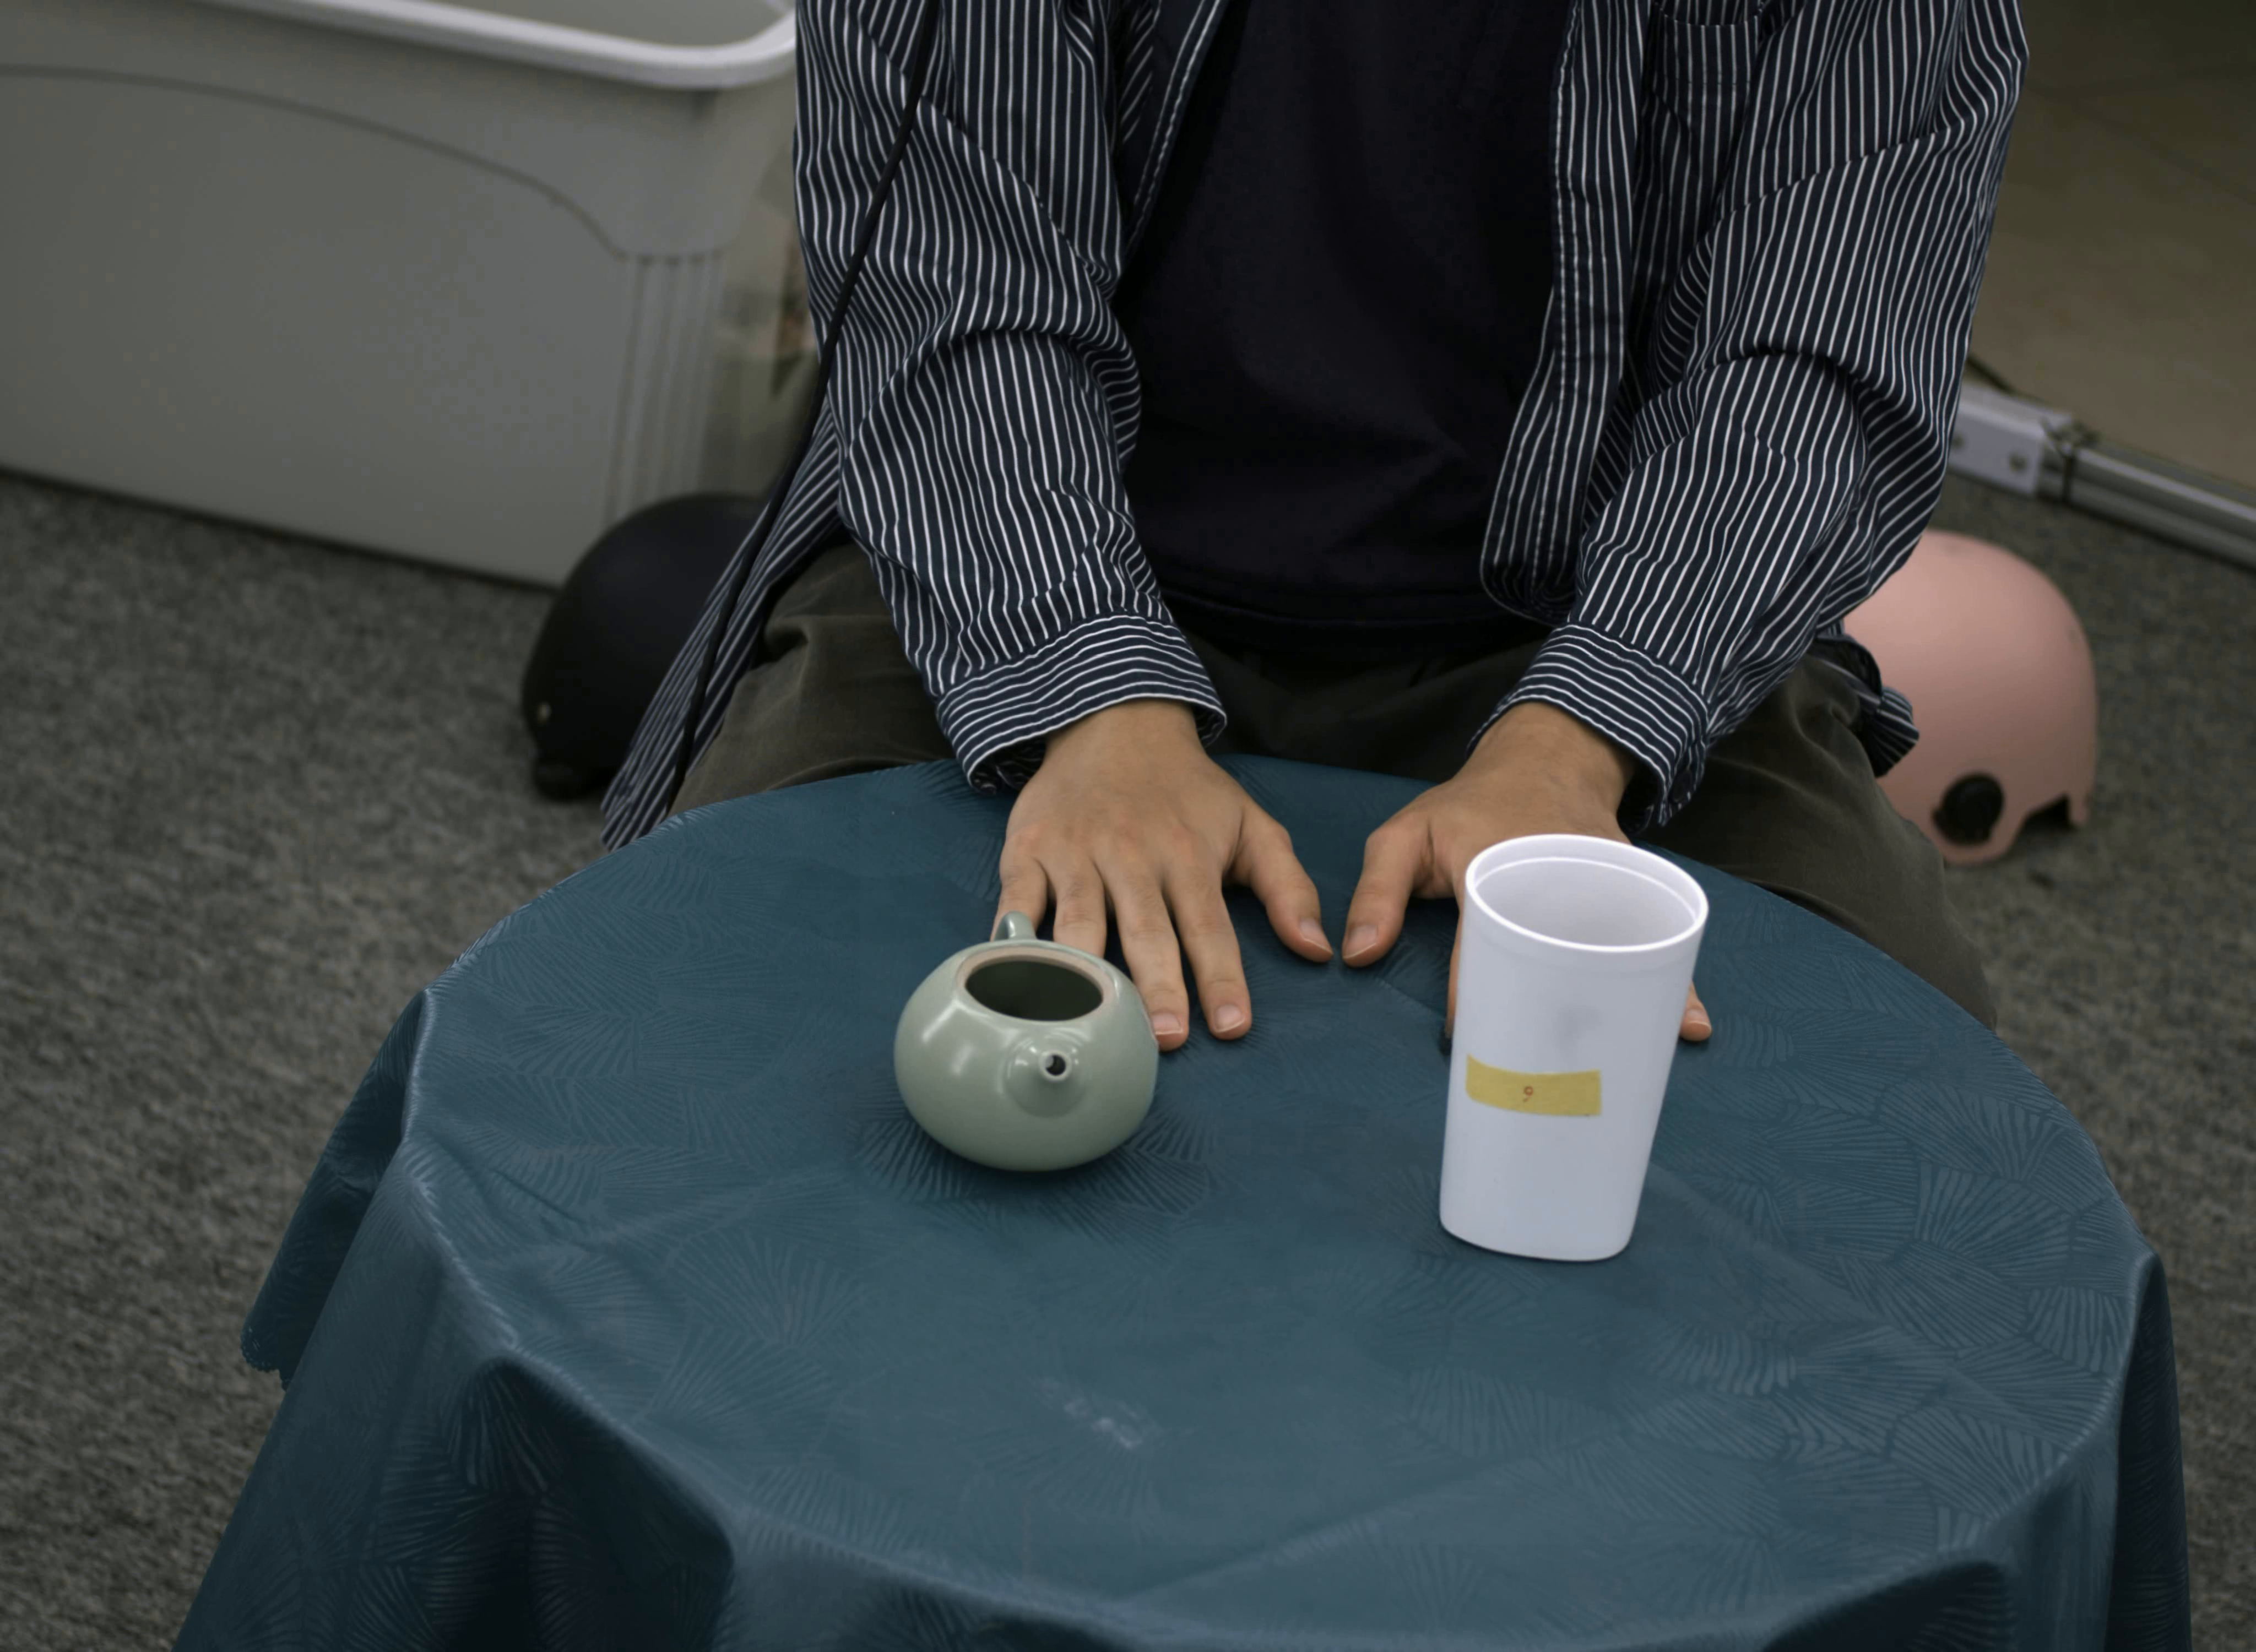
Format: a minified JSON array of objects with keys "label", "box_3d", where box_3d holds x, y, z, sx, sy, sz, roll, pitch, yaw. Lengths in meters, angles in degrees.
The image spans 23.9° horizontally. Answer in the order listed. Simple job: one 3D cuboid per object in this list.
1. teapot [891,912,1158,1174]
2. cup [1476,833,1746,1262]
[{"label":"teapot","box_3d":[-0.036,0.075,1.823,0.091,0.061,0.129,2,26,-4]},{"label":"cup","box_3d":[0.158,0.076,1.782,0.081,0.125,0.082,5,27,-3]}]
